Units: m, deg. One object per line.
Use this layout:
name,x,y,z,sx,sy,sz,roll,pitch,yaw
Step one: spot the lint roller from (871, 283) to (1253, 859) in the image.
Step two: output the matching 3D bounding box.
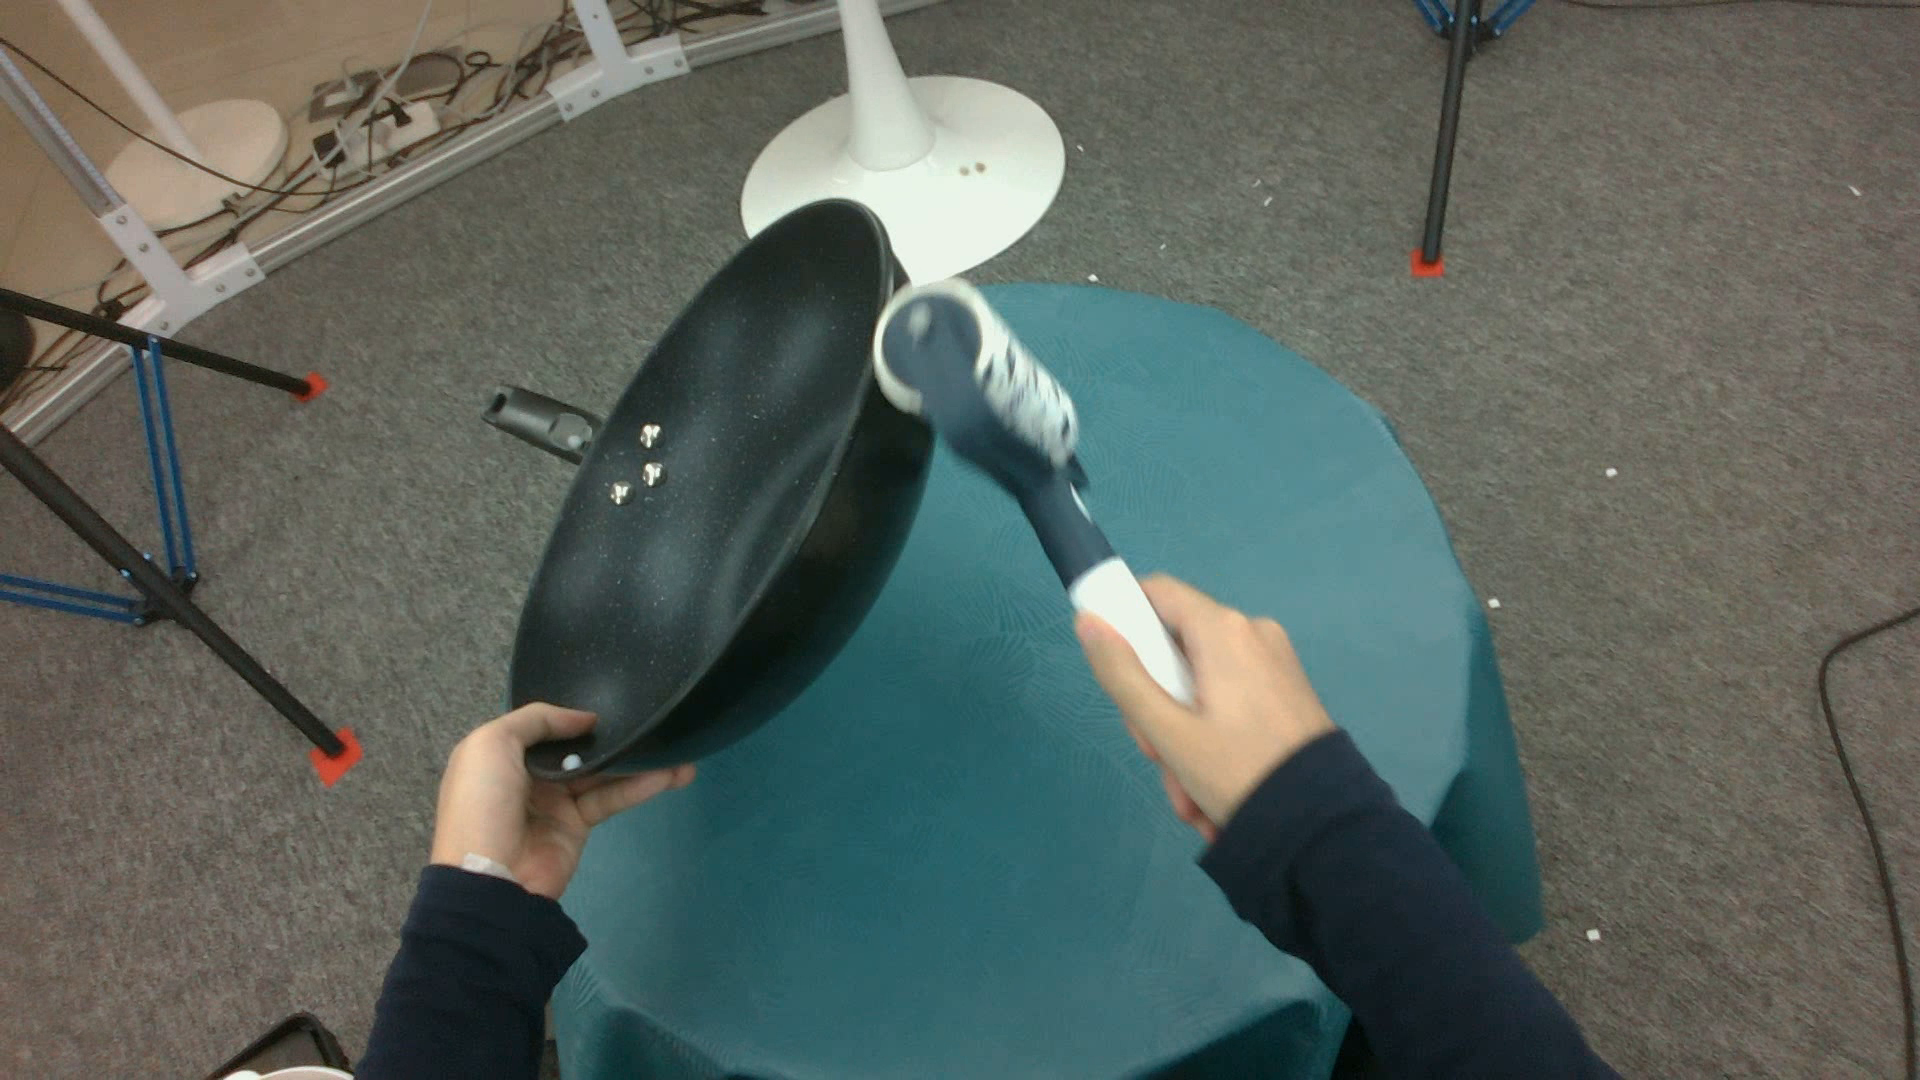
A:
lint roller,0.057,0.016,0.580,0.050,0.176,0.247,-33,77,10

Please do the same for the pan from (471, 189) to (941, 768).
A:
pan,-0.159,-0.038,0.743,0.476,0.111,0.310,16,76,57
